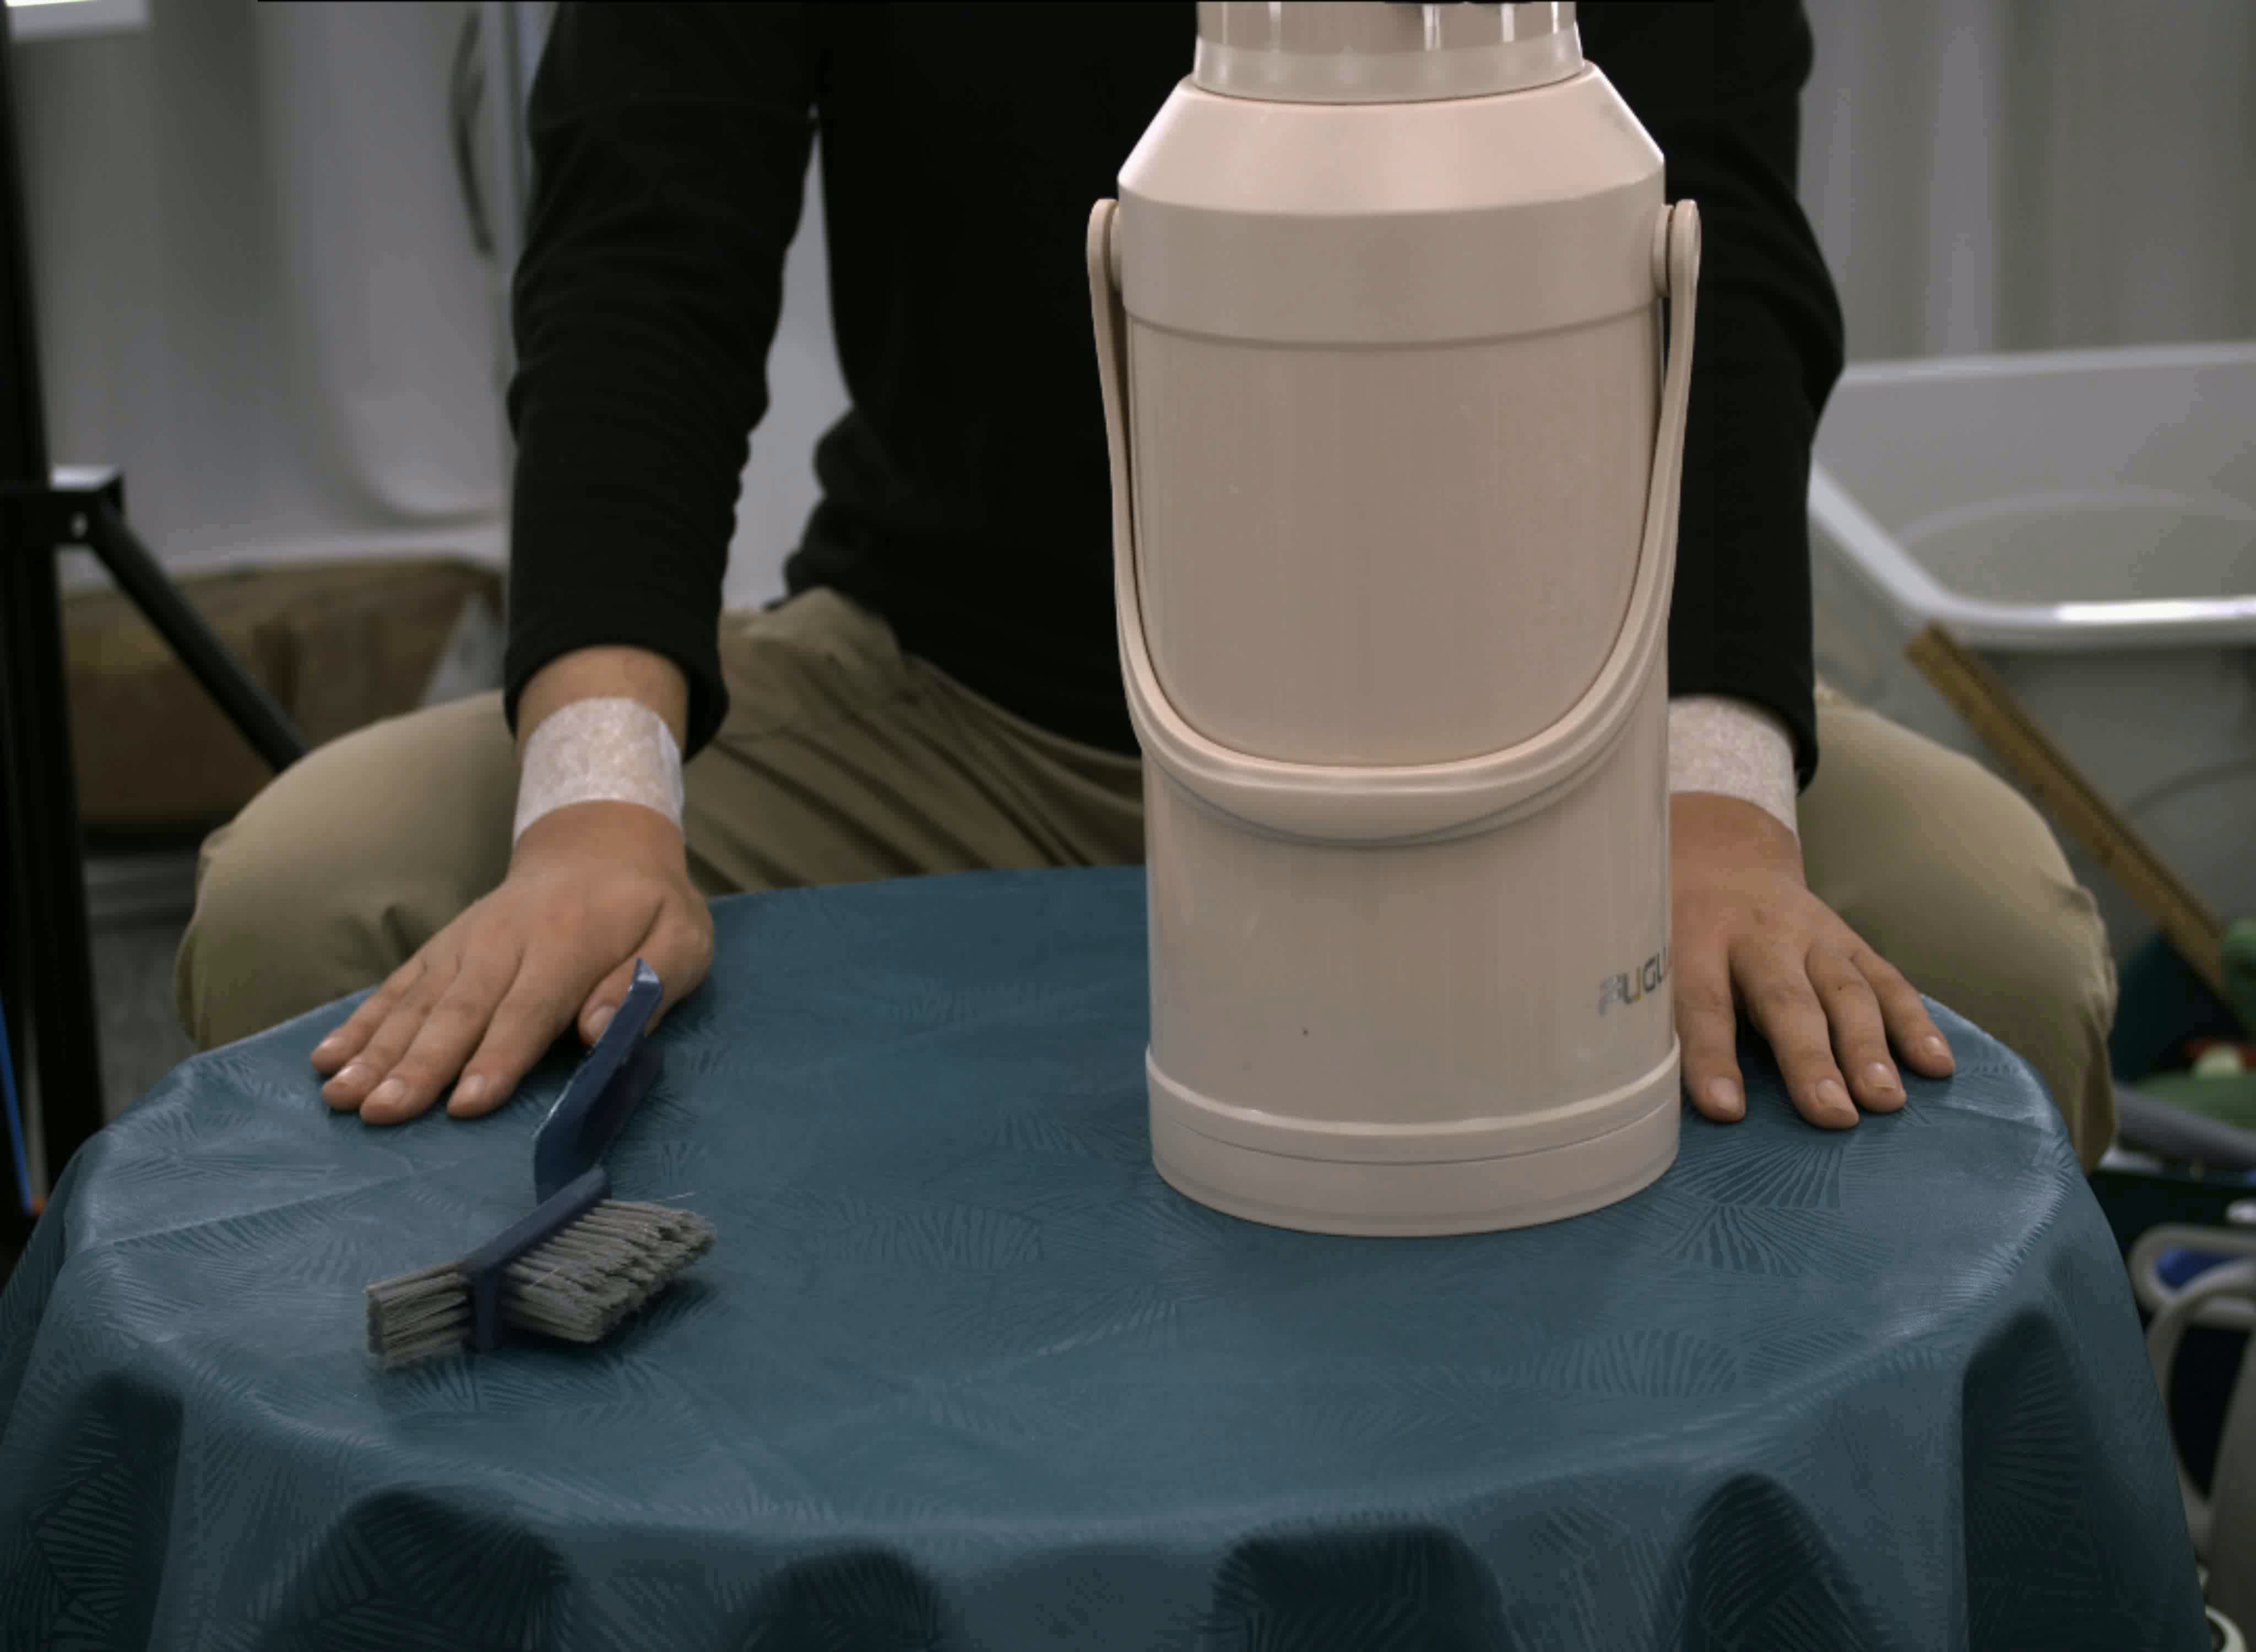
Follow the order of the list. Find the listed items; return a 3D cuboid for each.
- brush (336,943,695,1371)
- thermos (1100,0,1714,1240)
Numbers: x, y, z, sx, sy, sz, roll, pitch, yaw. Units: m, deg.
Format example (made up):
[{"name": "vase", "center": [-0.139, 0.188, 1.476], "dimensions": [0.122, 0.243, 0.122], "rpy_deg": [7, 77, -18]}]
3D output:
[{"name": "brush", "center": [-0.171, 0.094, 1.572], "dimensions": [0.095, 0.033, 0.274], "rpy_deg": [-1, 18, -1]}, {"name": "thermos", "center": [0.087, -0.098, 1.545], "dimensions": [0.176, 0.406, 0.205], "rpy_deg": [0, 15, 15]}]
